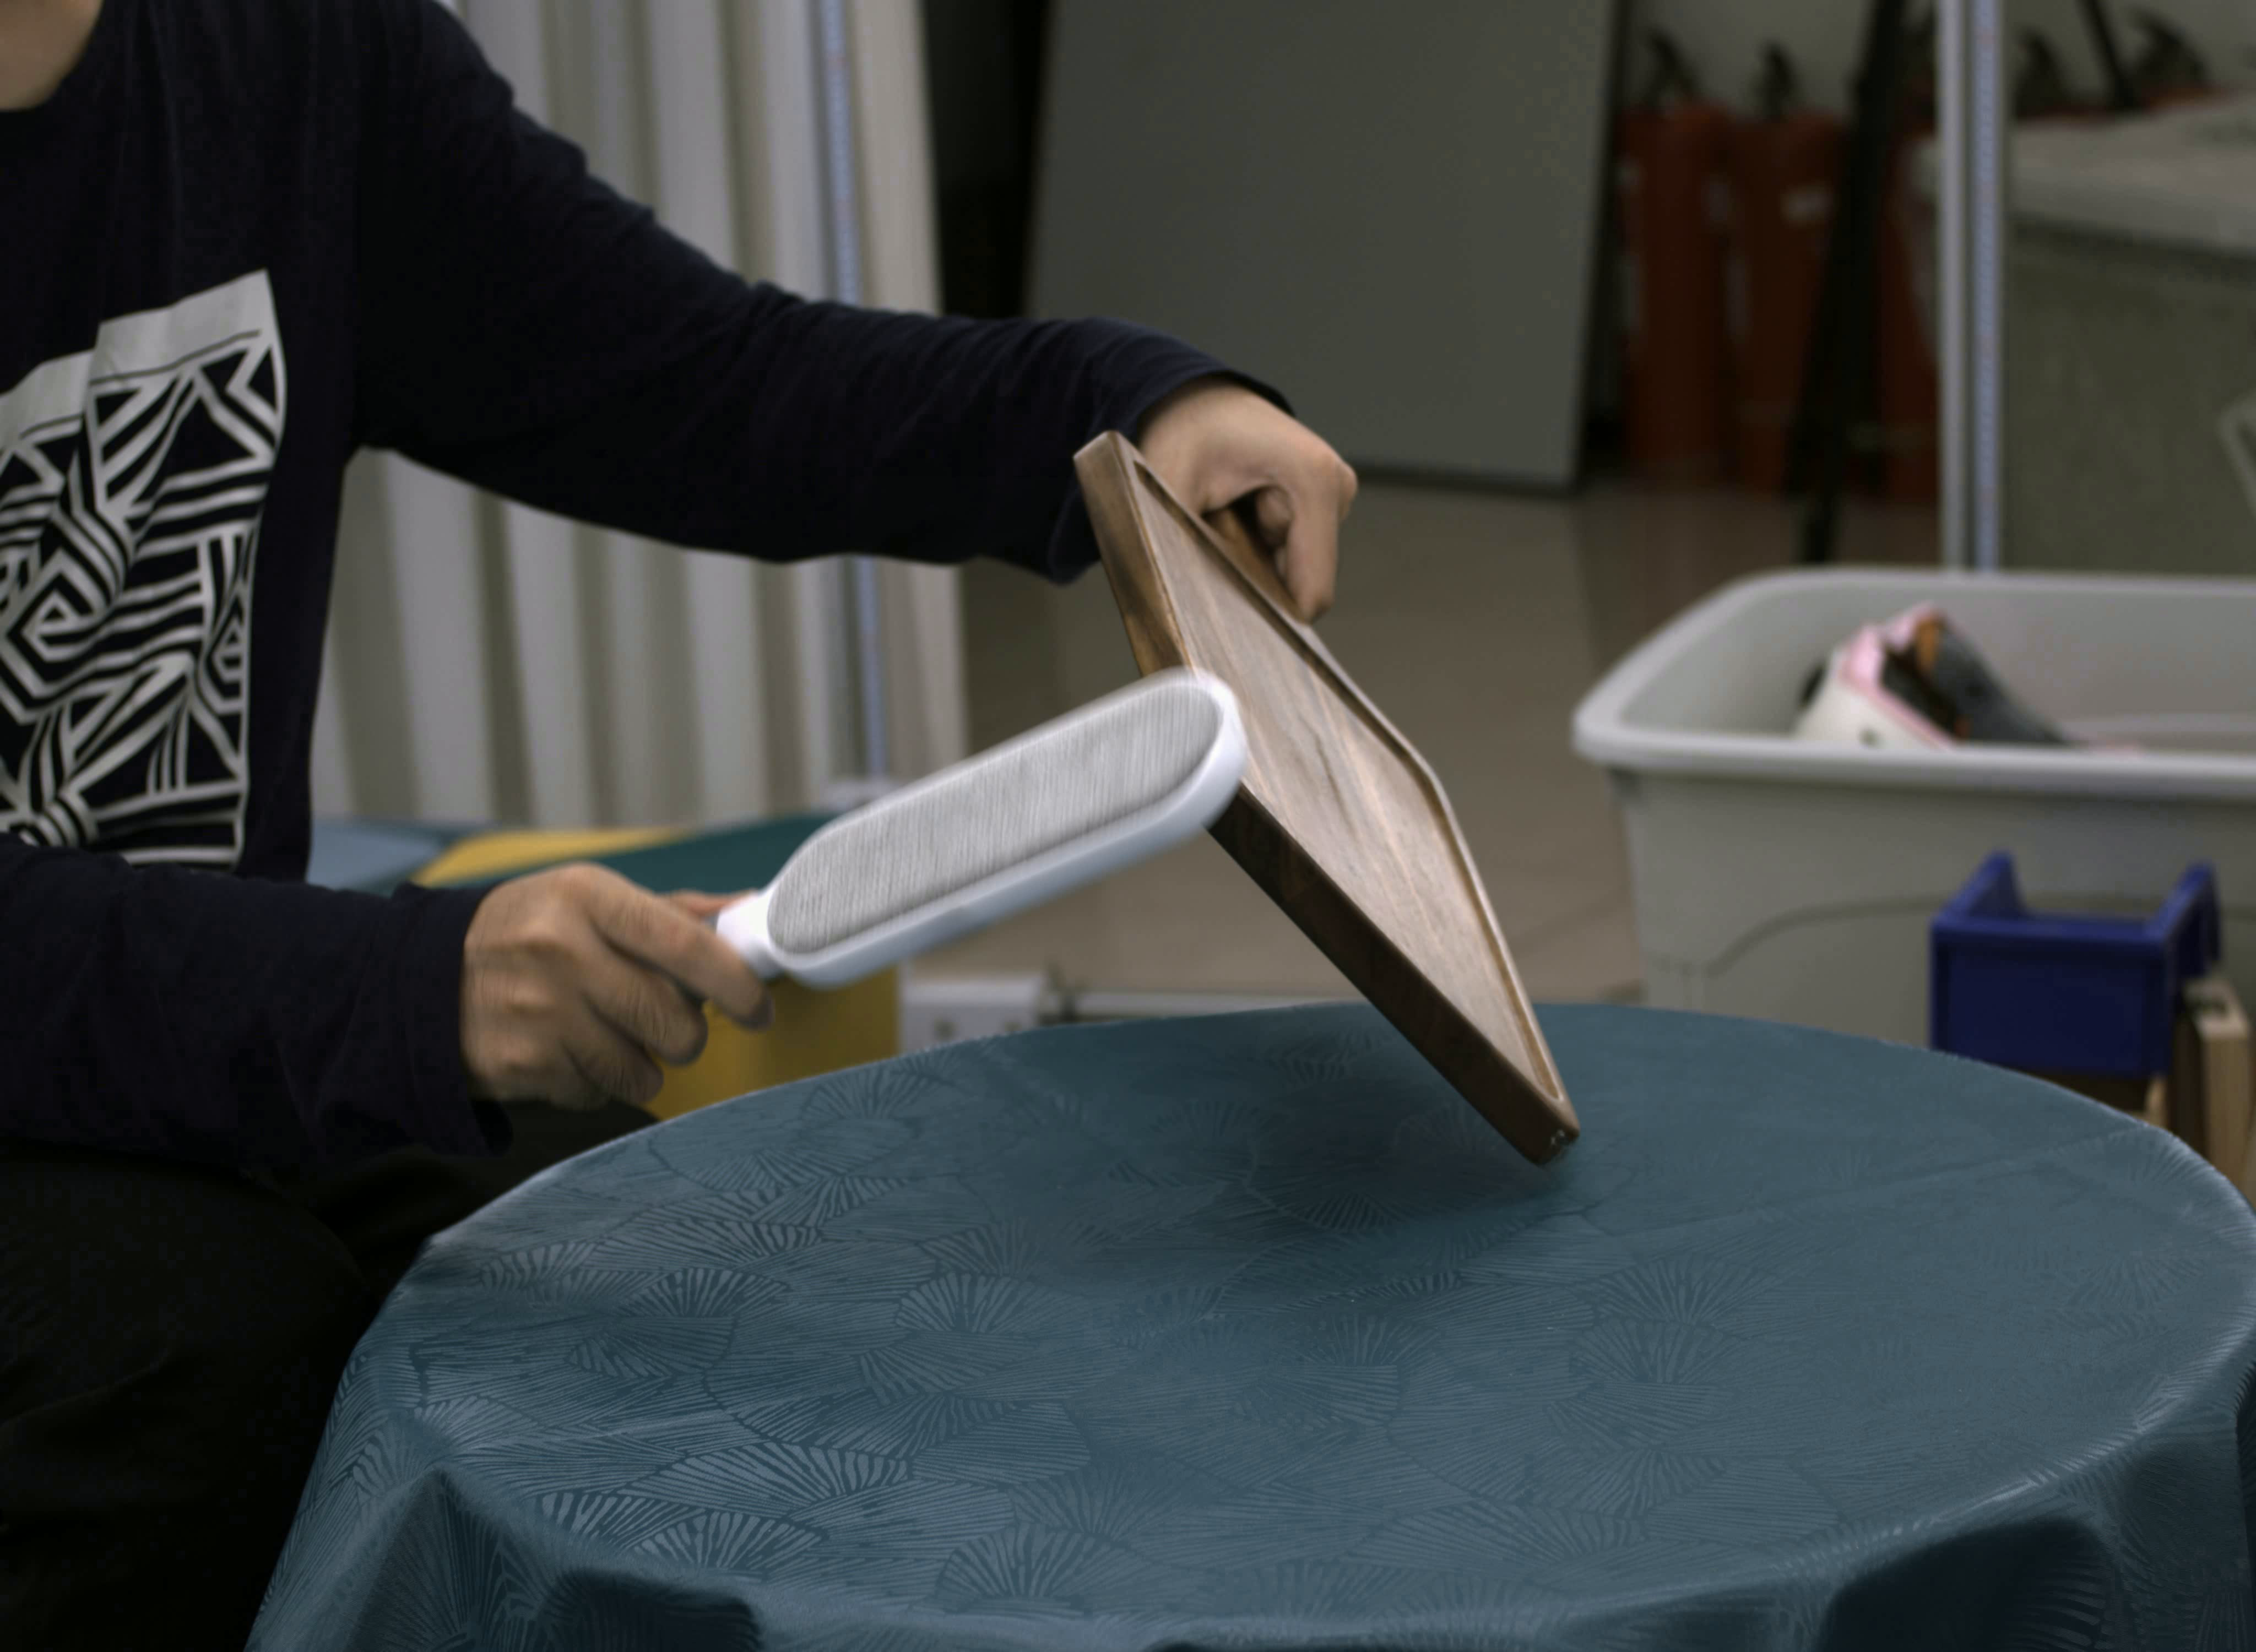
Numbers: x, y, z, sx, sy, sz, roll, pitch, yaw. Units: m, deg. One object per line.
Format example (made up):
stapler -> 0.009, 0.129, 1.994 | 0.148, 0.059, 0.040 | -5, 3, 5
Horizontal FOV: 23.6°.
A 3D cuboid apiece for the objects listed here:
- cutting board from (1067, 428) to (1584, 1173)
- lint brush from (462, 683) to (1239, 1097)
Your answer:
cutting board -> 0.056, -0.036, 1.846 | 0.023, 0.199, 0.355 | -38, 28, 12
lint brush -> -0.090, 0.026, 1.659 | 0.310, 0.060, 0.020 | -23, -41, 32
